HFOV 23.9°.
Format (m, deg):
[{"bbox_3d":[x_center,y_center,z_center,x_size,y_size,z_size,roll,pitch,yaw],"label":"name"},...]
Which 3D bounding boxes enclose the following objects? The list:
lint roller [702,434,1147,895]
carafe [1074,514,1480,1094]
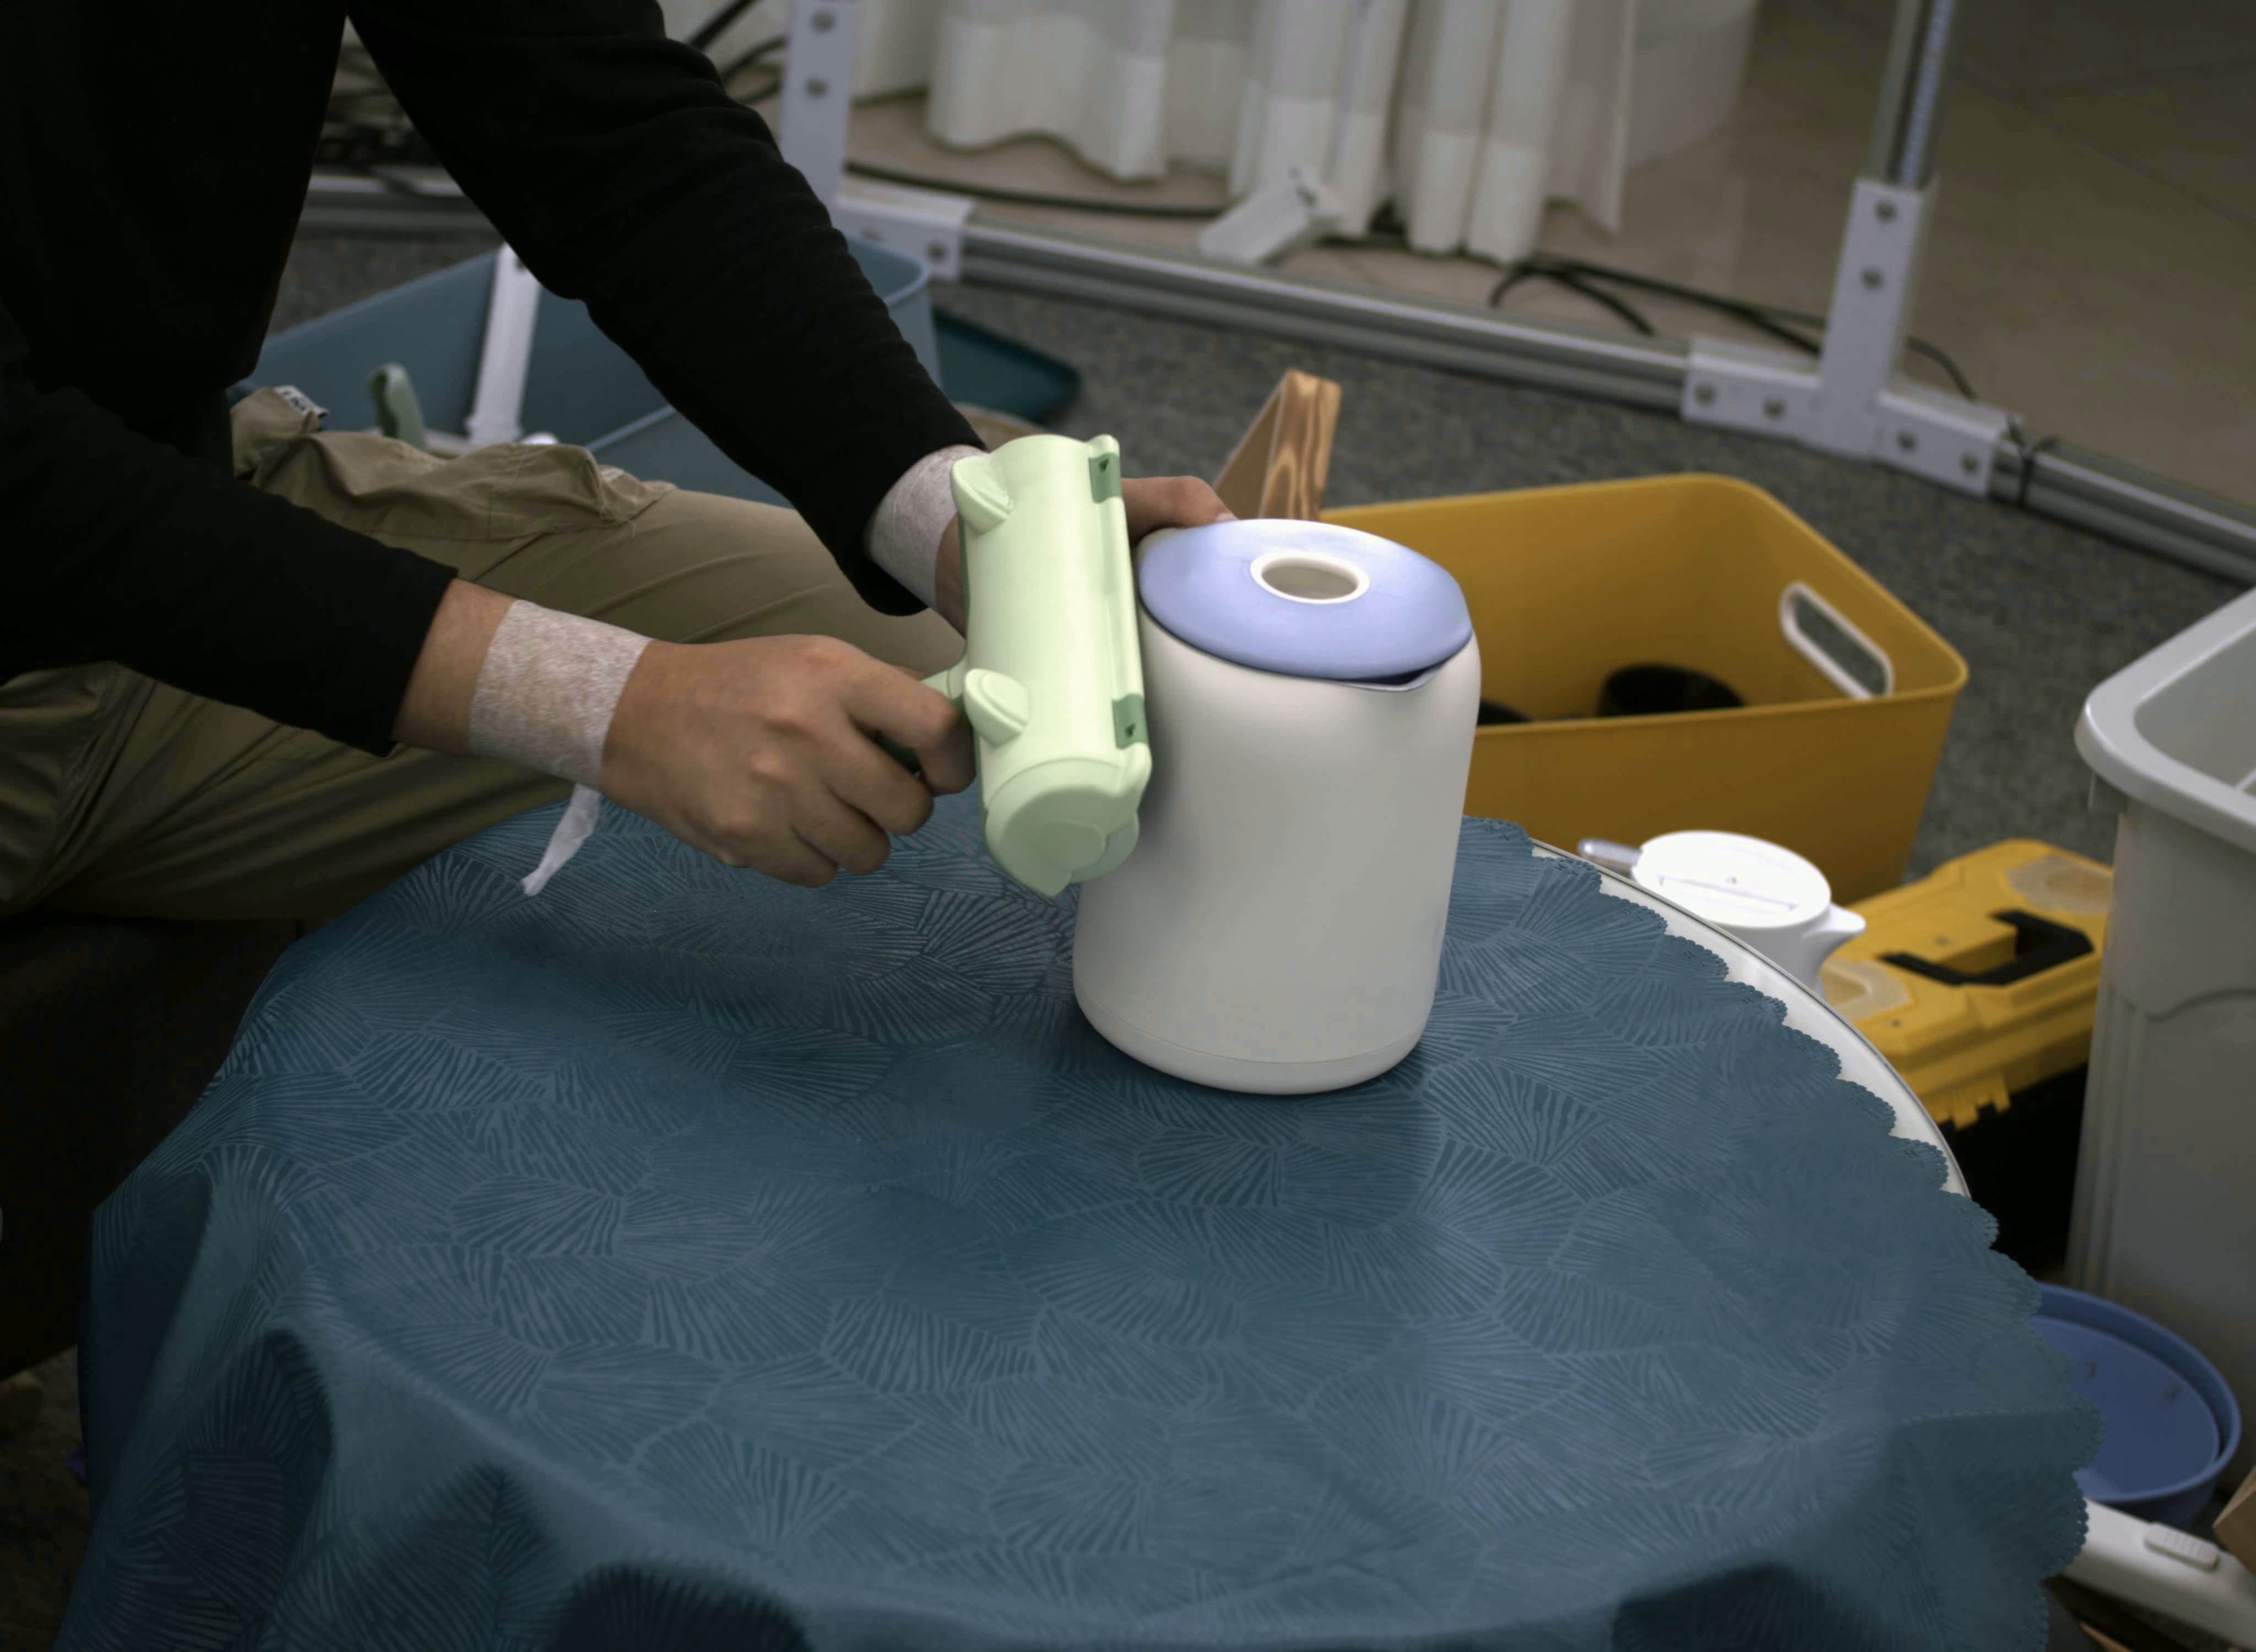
[{"bbox_3d":[-0.081,-0.045,1.855,0.183,0.081,0.200,-22,39,13],"label":"lint roller"},{"bbox_3d":[0.040,-0.019,1.901,0.131,0.182,0.193,-9,29,-30],"label":"carafe"}]
